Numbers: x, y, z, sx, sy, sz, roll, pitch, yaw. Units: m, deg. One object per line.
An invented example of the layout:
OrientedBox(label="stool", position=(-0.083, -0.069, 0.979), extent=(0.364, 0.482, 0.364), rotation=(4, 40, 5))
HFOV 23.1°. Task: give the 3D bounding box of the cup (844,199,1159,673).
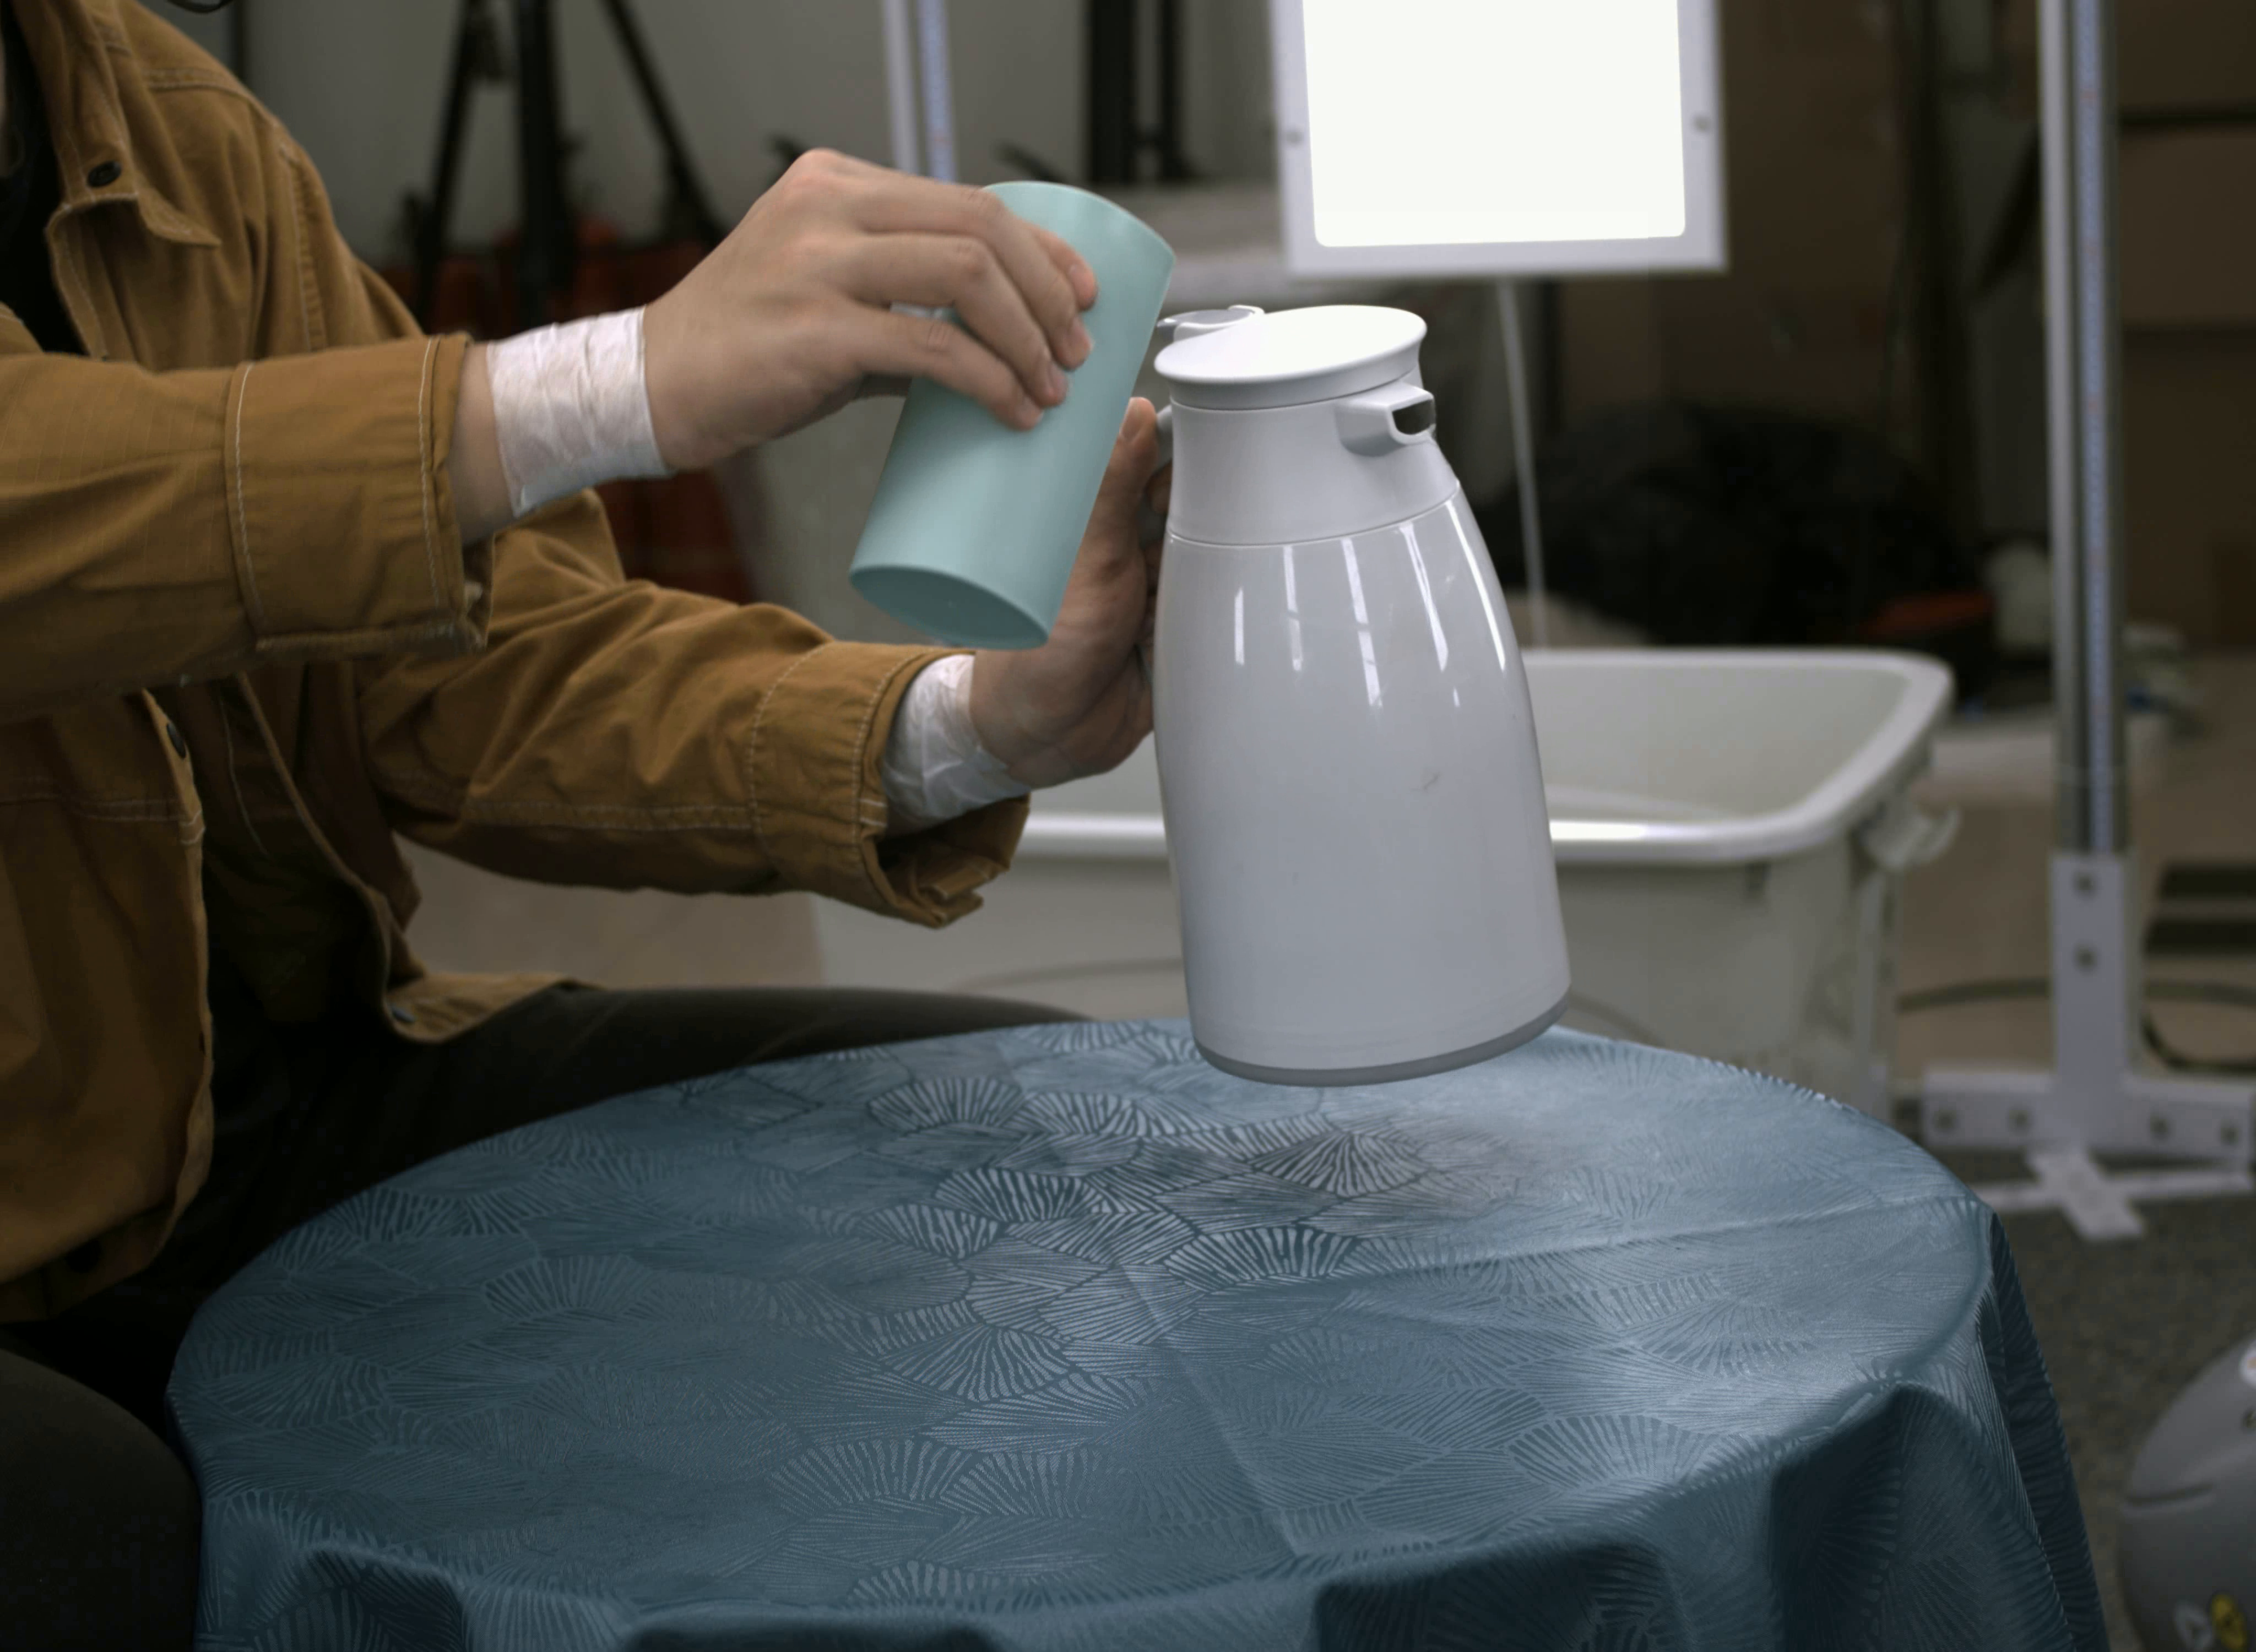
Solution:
OrientedBox(label="cup", position=(-0.039, -0.120, 1.685), extent=(0.067, 0.132, 0.067), rotation=(15, -16, 3))

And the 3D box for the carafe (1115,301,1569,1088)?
OrientedBox(label="carafe", position=(0.057, -0.053, 1.866), extent=(0.129, 0.249, 0.171), rotation=(-20, 20, -32))
